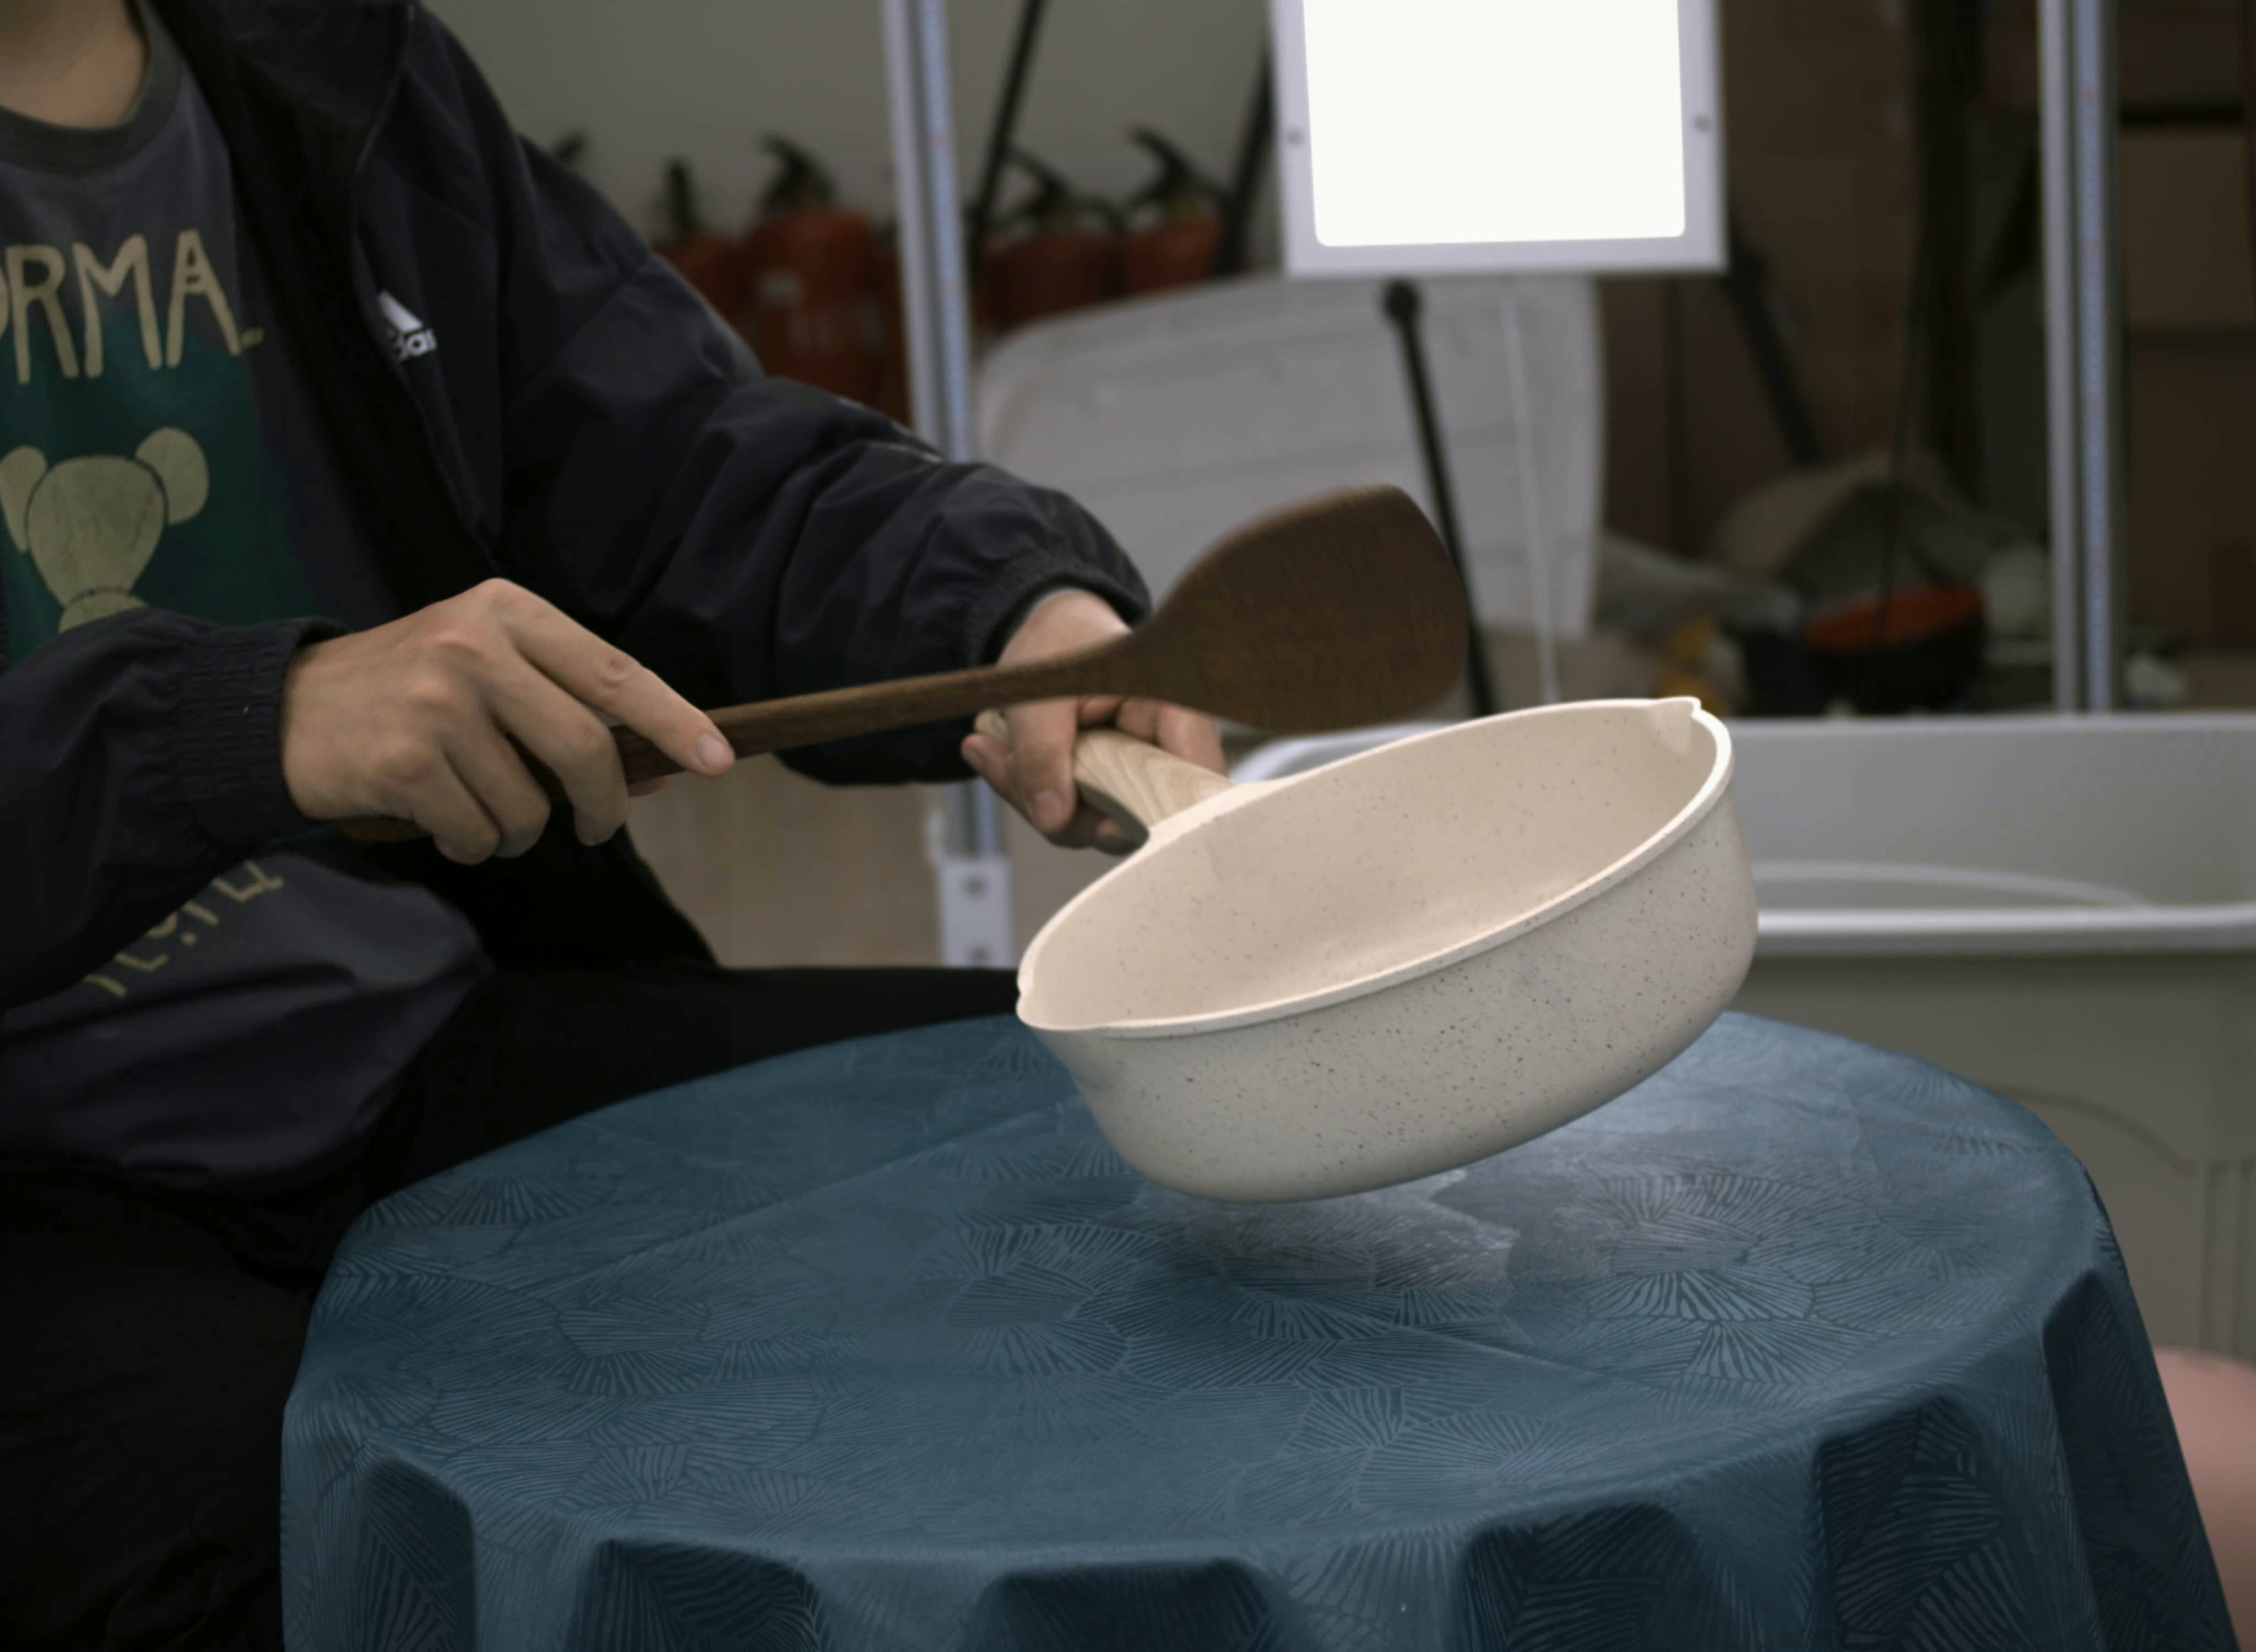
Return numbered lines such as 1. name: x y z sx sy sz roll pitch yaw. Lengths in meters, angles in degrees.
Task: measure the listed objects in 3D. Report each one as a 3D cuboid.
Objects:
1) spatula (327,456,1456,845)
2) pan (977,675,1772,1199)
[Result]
1. spatula: -0.082 -0.043 1.803 0.389 0.096 0.015 -12 38 14
2. pan: 0.059 0.024 1.915 0.259 0.102 0.441 -28 17 -17
